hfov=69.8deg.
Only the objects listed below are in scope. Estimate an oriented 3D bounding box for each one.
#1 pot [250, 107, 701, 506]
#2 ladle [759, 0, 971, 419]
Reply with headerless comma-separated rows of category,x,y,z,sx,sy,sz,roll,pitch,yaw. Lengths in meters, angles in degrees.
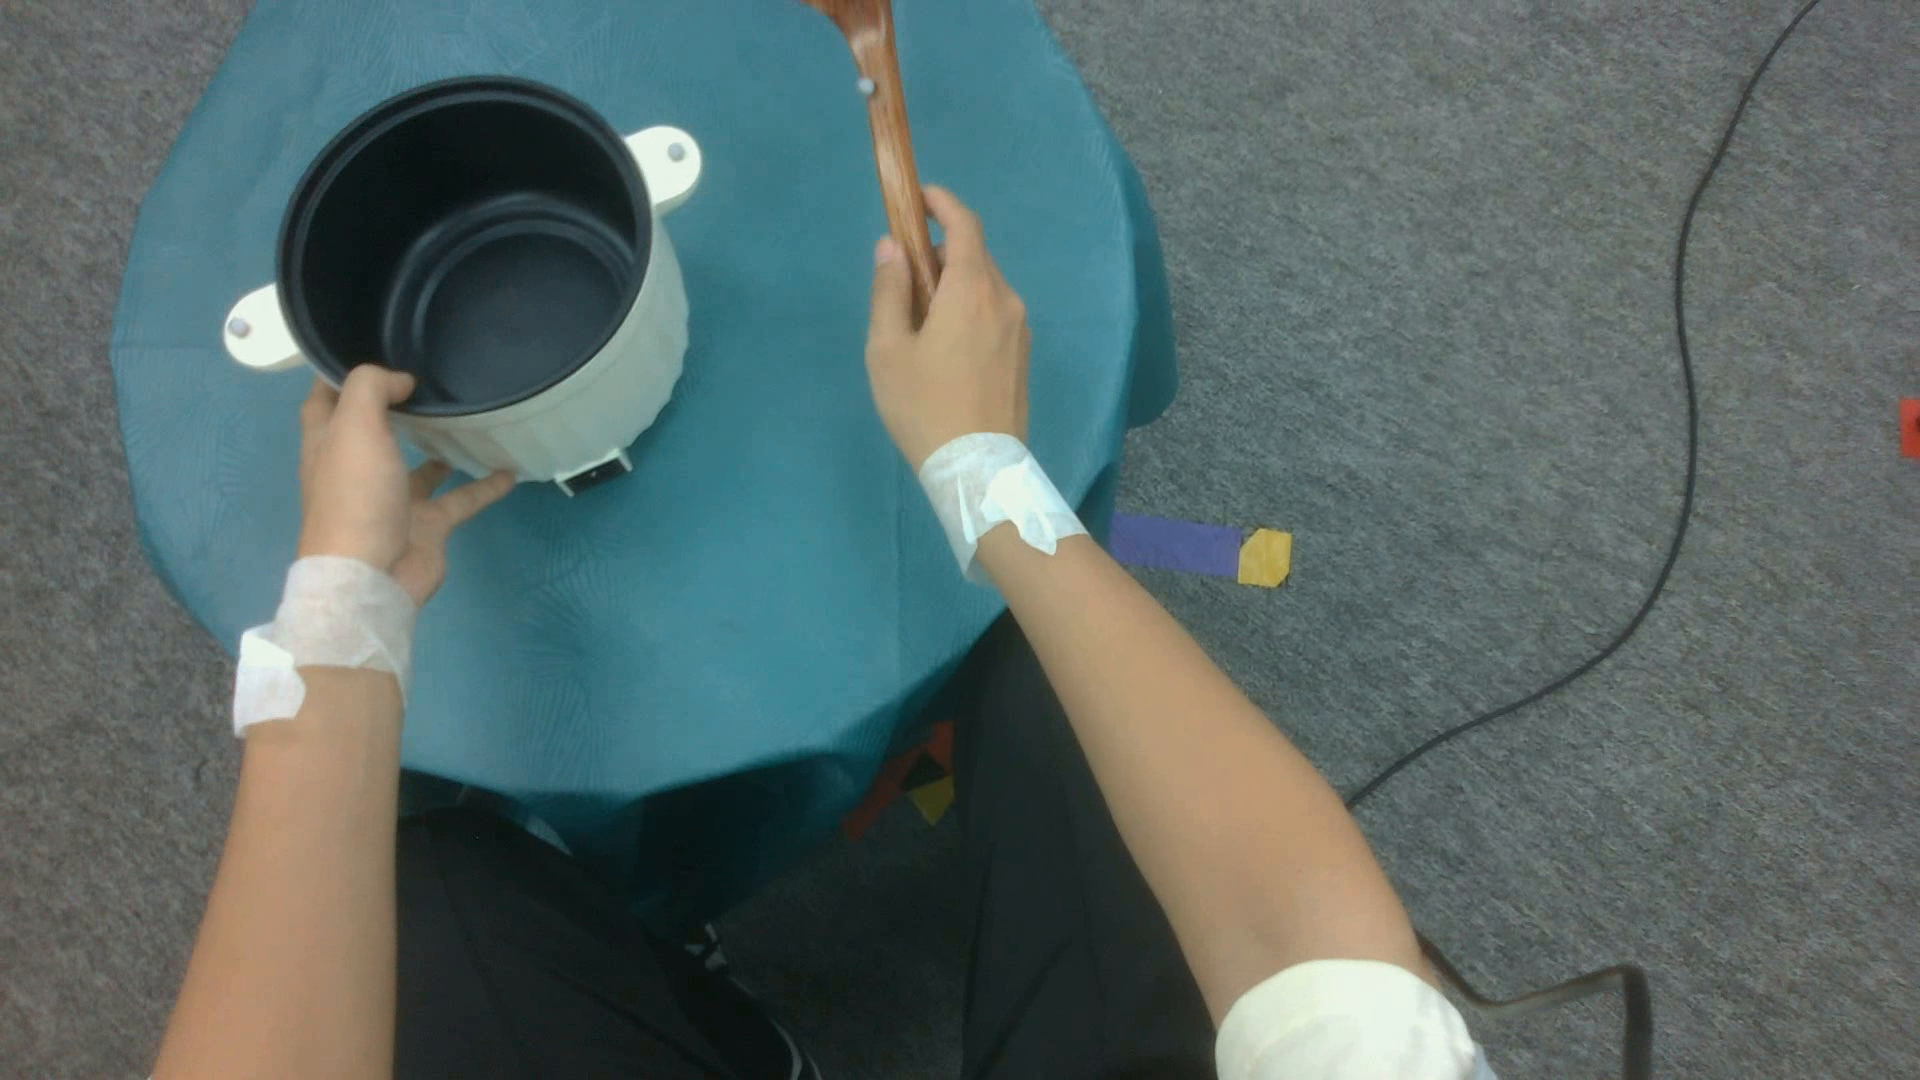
pot,-0.243,-0.123,0.749,0.240,0.142,0.191,-26,77,-7
ladle,-0.048,-0.197,0.699,0.081,0.077,0.274,-21,75,37
